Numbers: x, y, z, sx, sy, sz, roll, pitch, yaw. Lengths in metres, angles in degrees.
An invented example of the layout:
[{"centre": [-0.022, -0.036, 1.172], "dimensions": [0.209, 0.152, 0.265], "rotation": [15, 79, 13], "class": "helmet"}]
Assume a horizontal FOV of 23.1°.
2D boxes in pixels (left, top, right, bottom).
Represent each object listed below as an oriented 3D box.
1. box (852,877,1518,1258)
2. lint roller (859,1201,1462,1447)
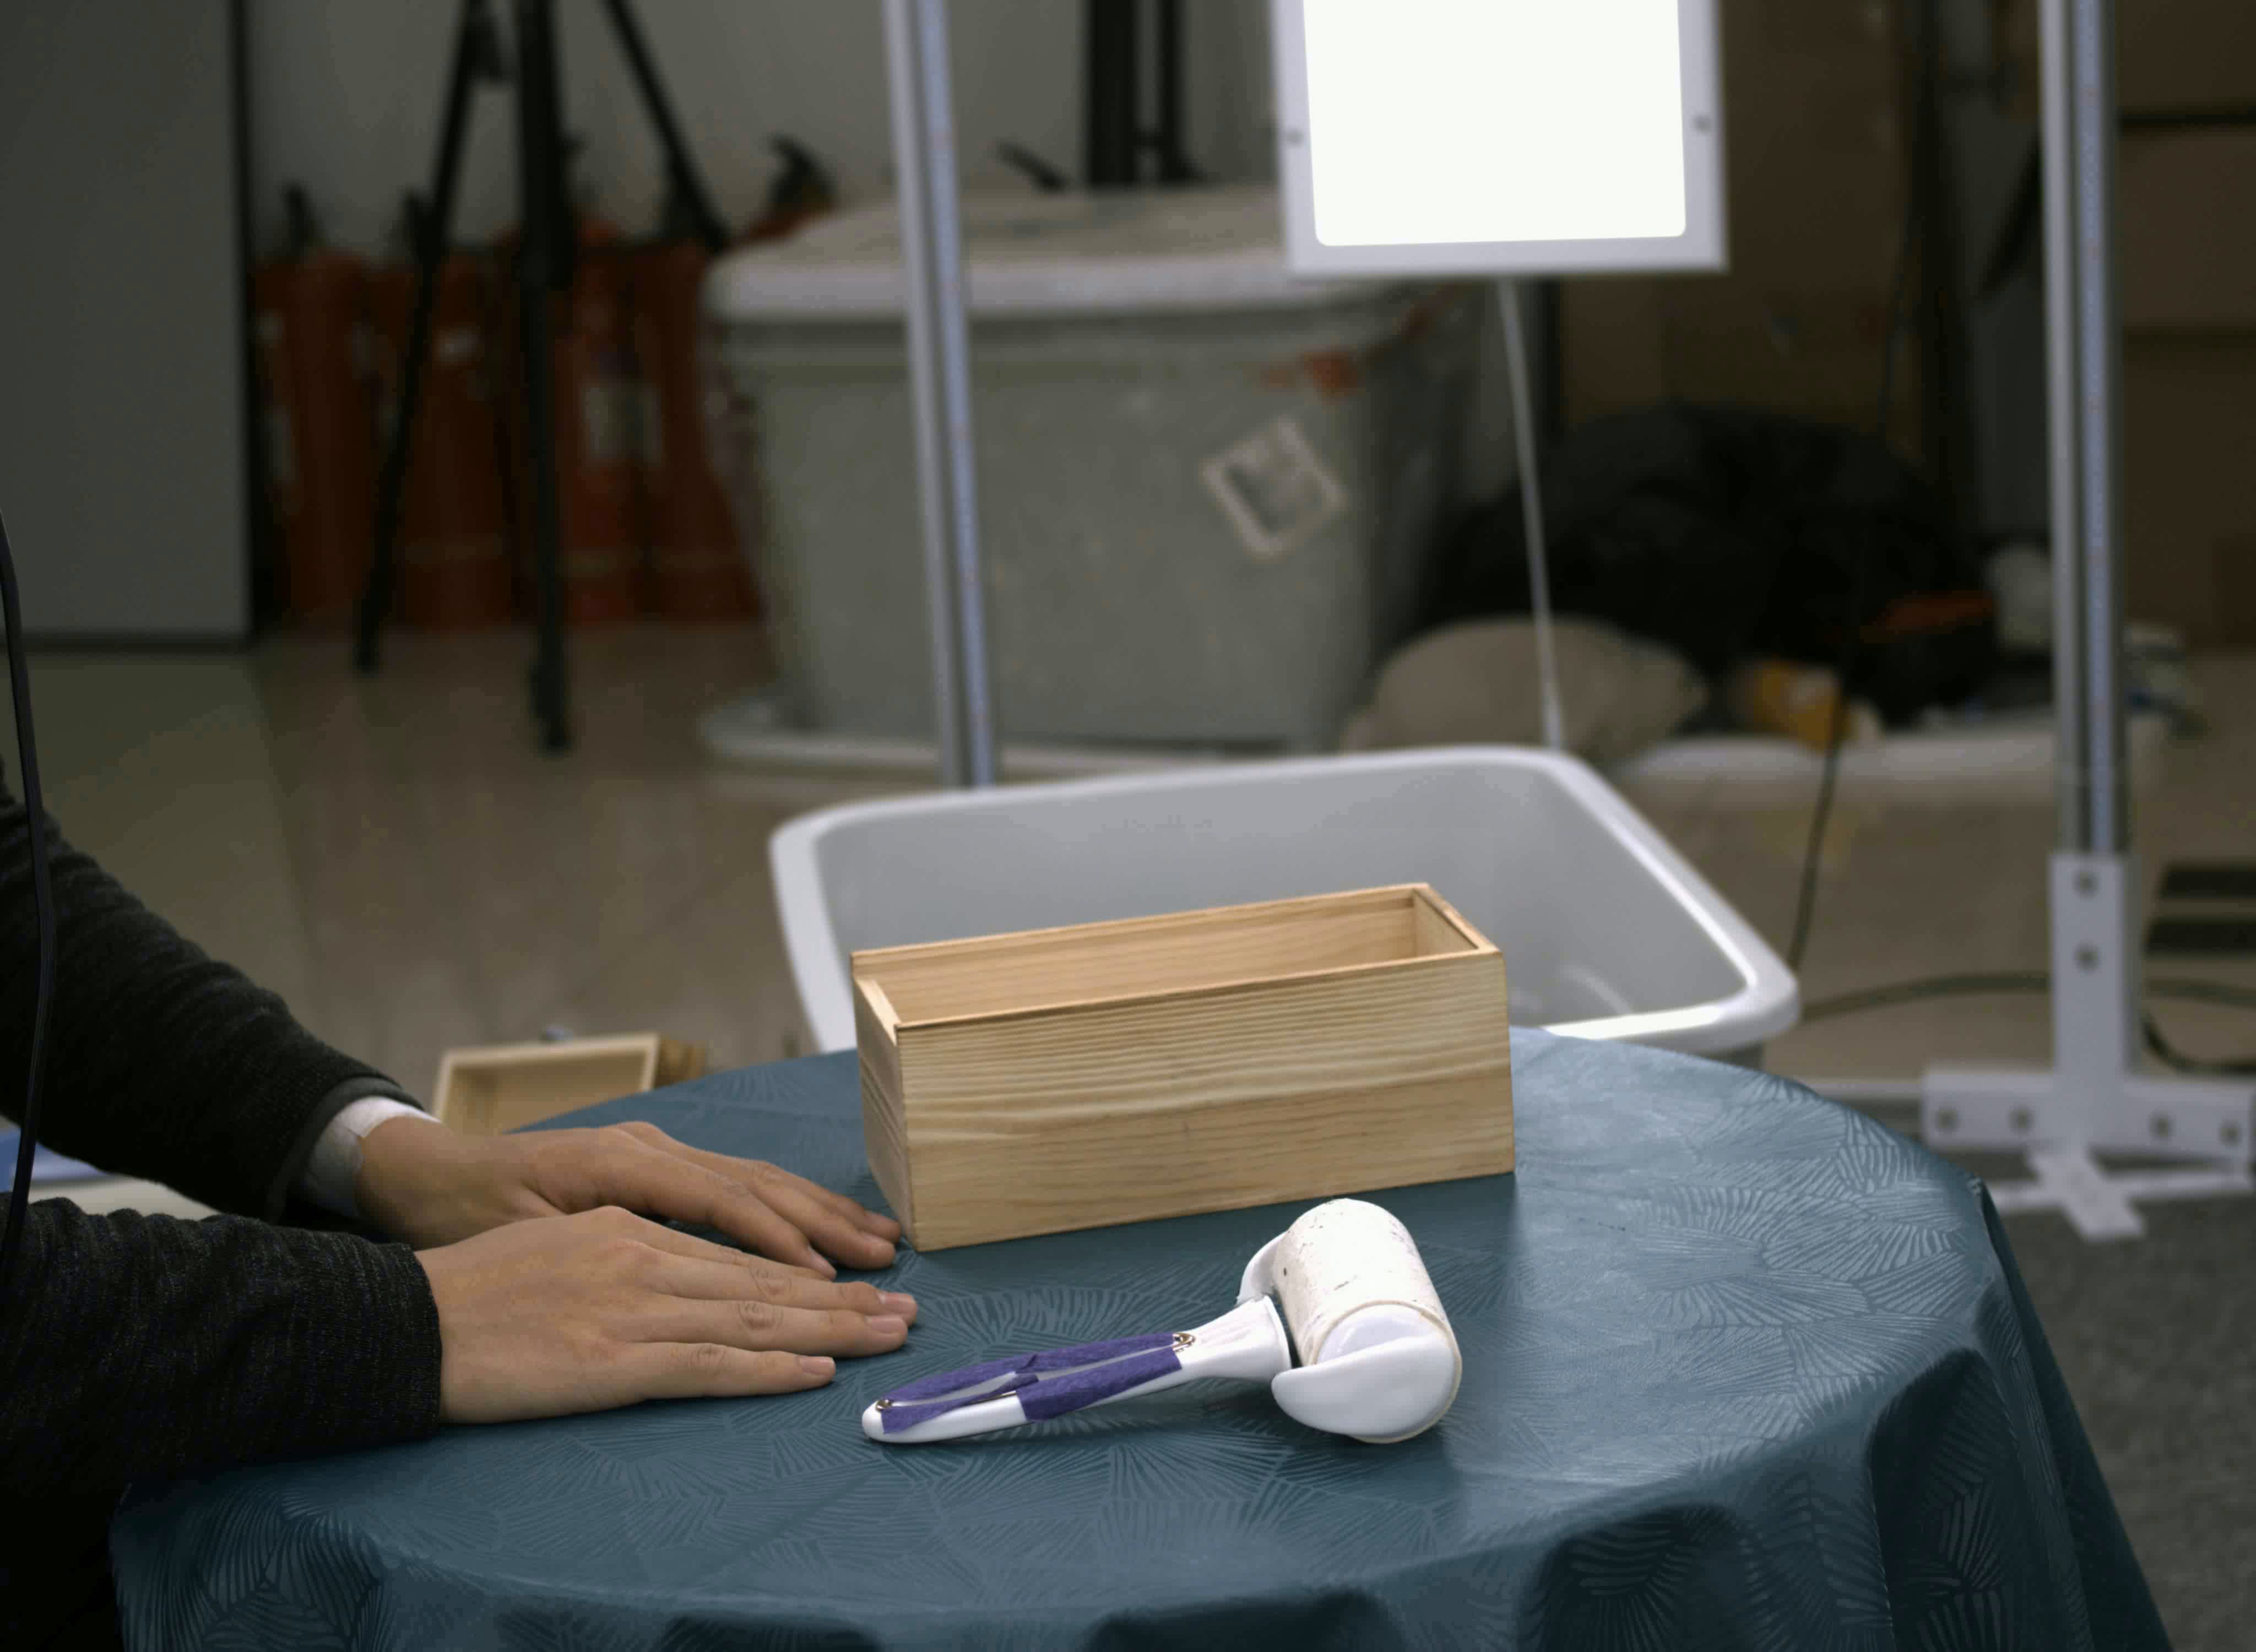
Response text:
[{"centre": [0.018, 0.082, 1.907], "dimensions": [0.209, 0.080, 0.108], "rotation": [-8, 14, -8], "class": "box"}, {"centre": [0.007, 0.155, 1.678], "dimensions": [0.180, 0.050, 0.133], "rotation": [-3, 15, -1], "class": "lint roller"}]
